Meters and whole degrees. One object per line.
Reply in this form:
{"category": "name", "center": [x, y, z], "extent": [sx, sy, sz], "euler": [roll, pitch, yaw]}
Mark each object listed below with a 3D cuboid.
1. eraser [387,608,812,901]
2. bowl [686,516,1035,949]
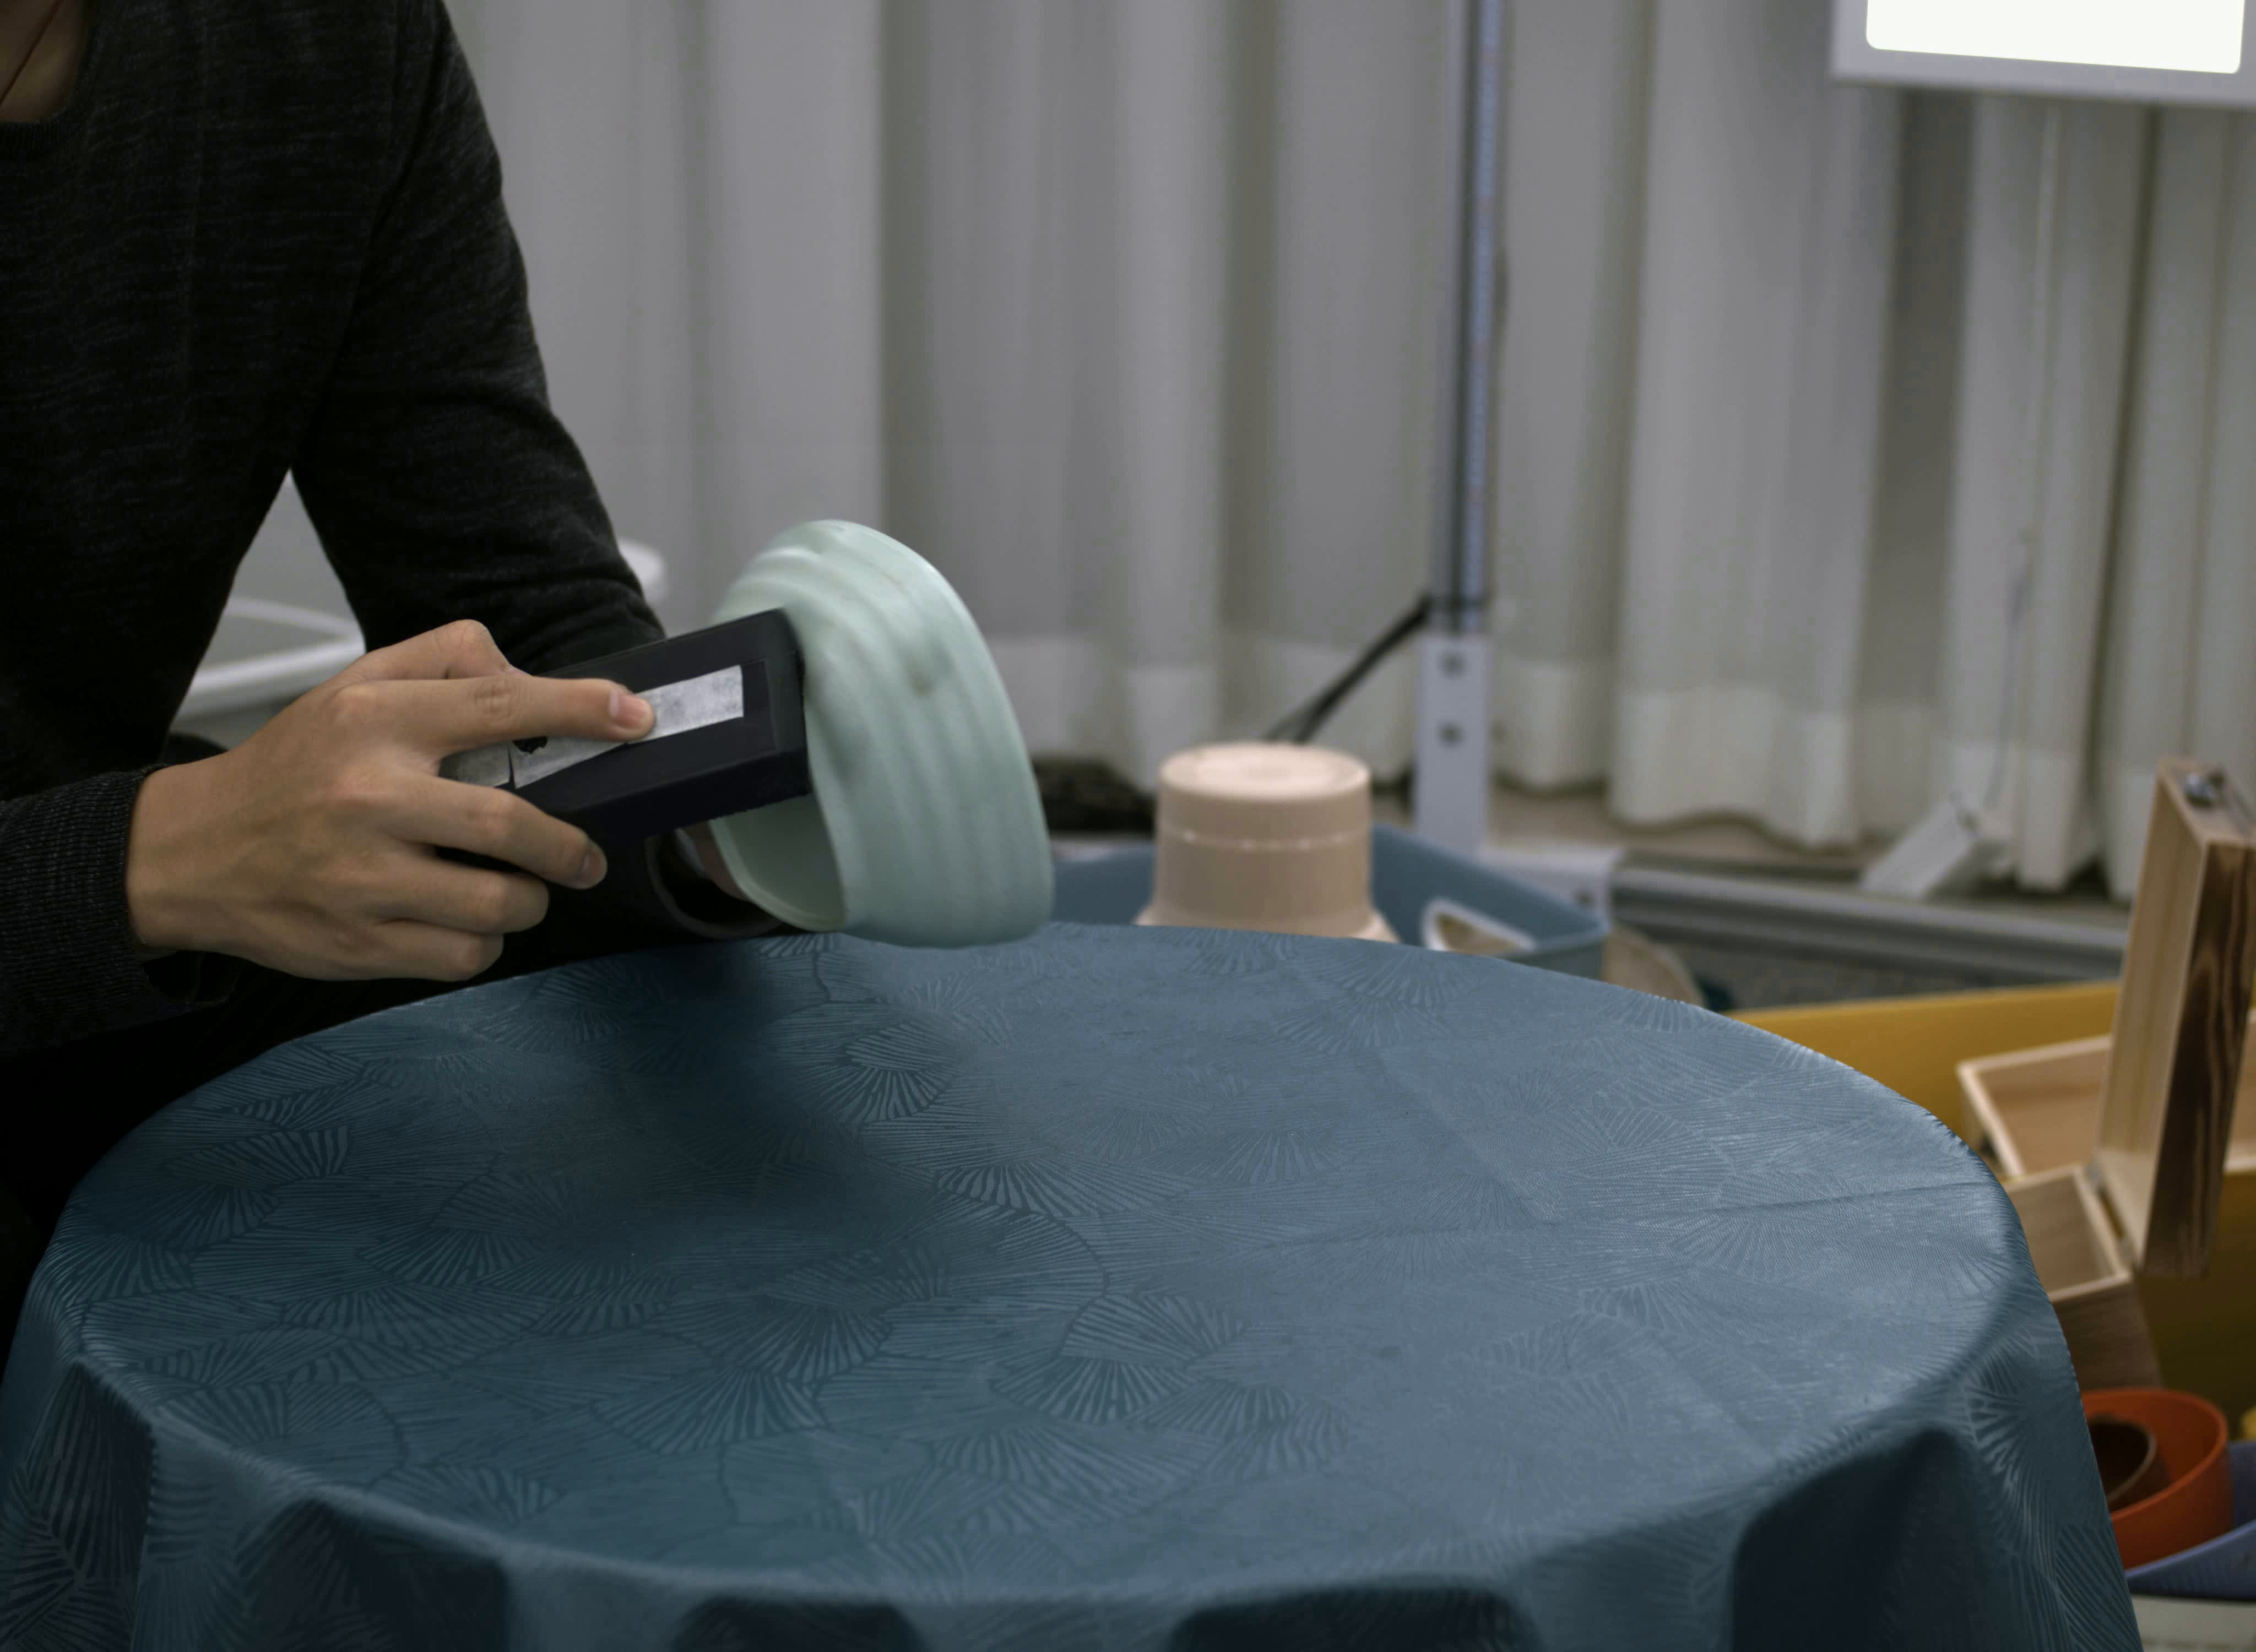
{"category": "eraser", "center": [-0.154, -0.021, 1.535], "extent": [0.125, 0.053, 0.031], "euler": [-17, -28, 12]}
{"category": "bowl", "center": [-0.093, -0.019, 1.593], "extent": [0.059, 0.153, 0.149], "euler": [-26, 27, -25]}
